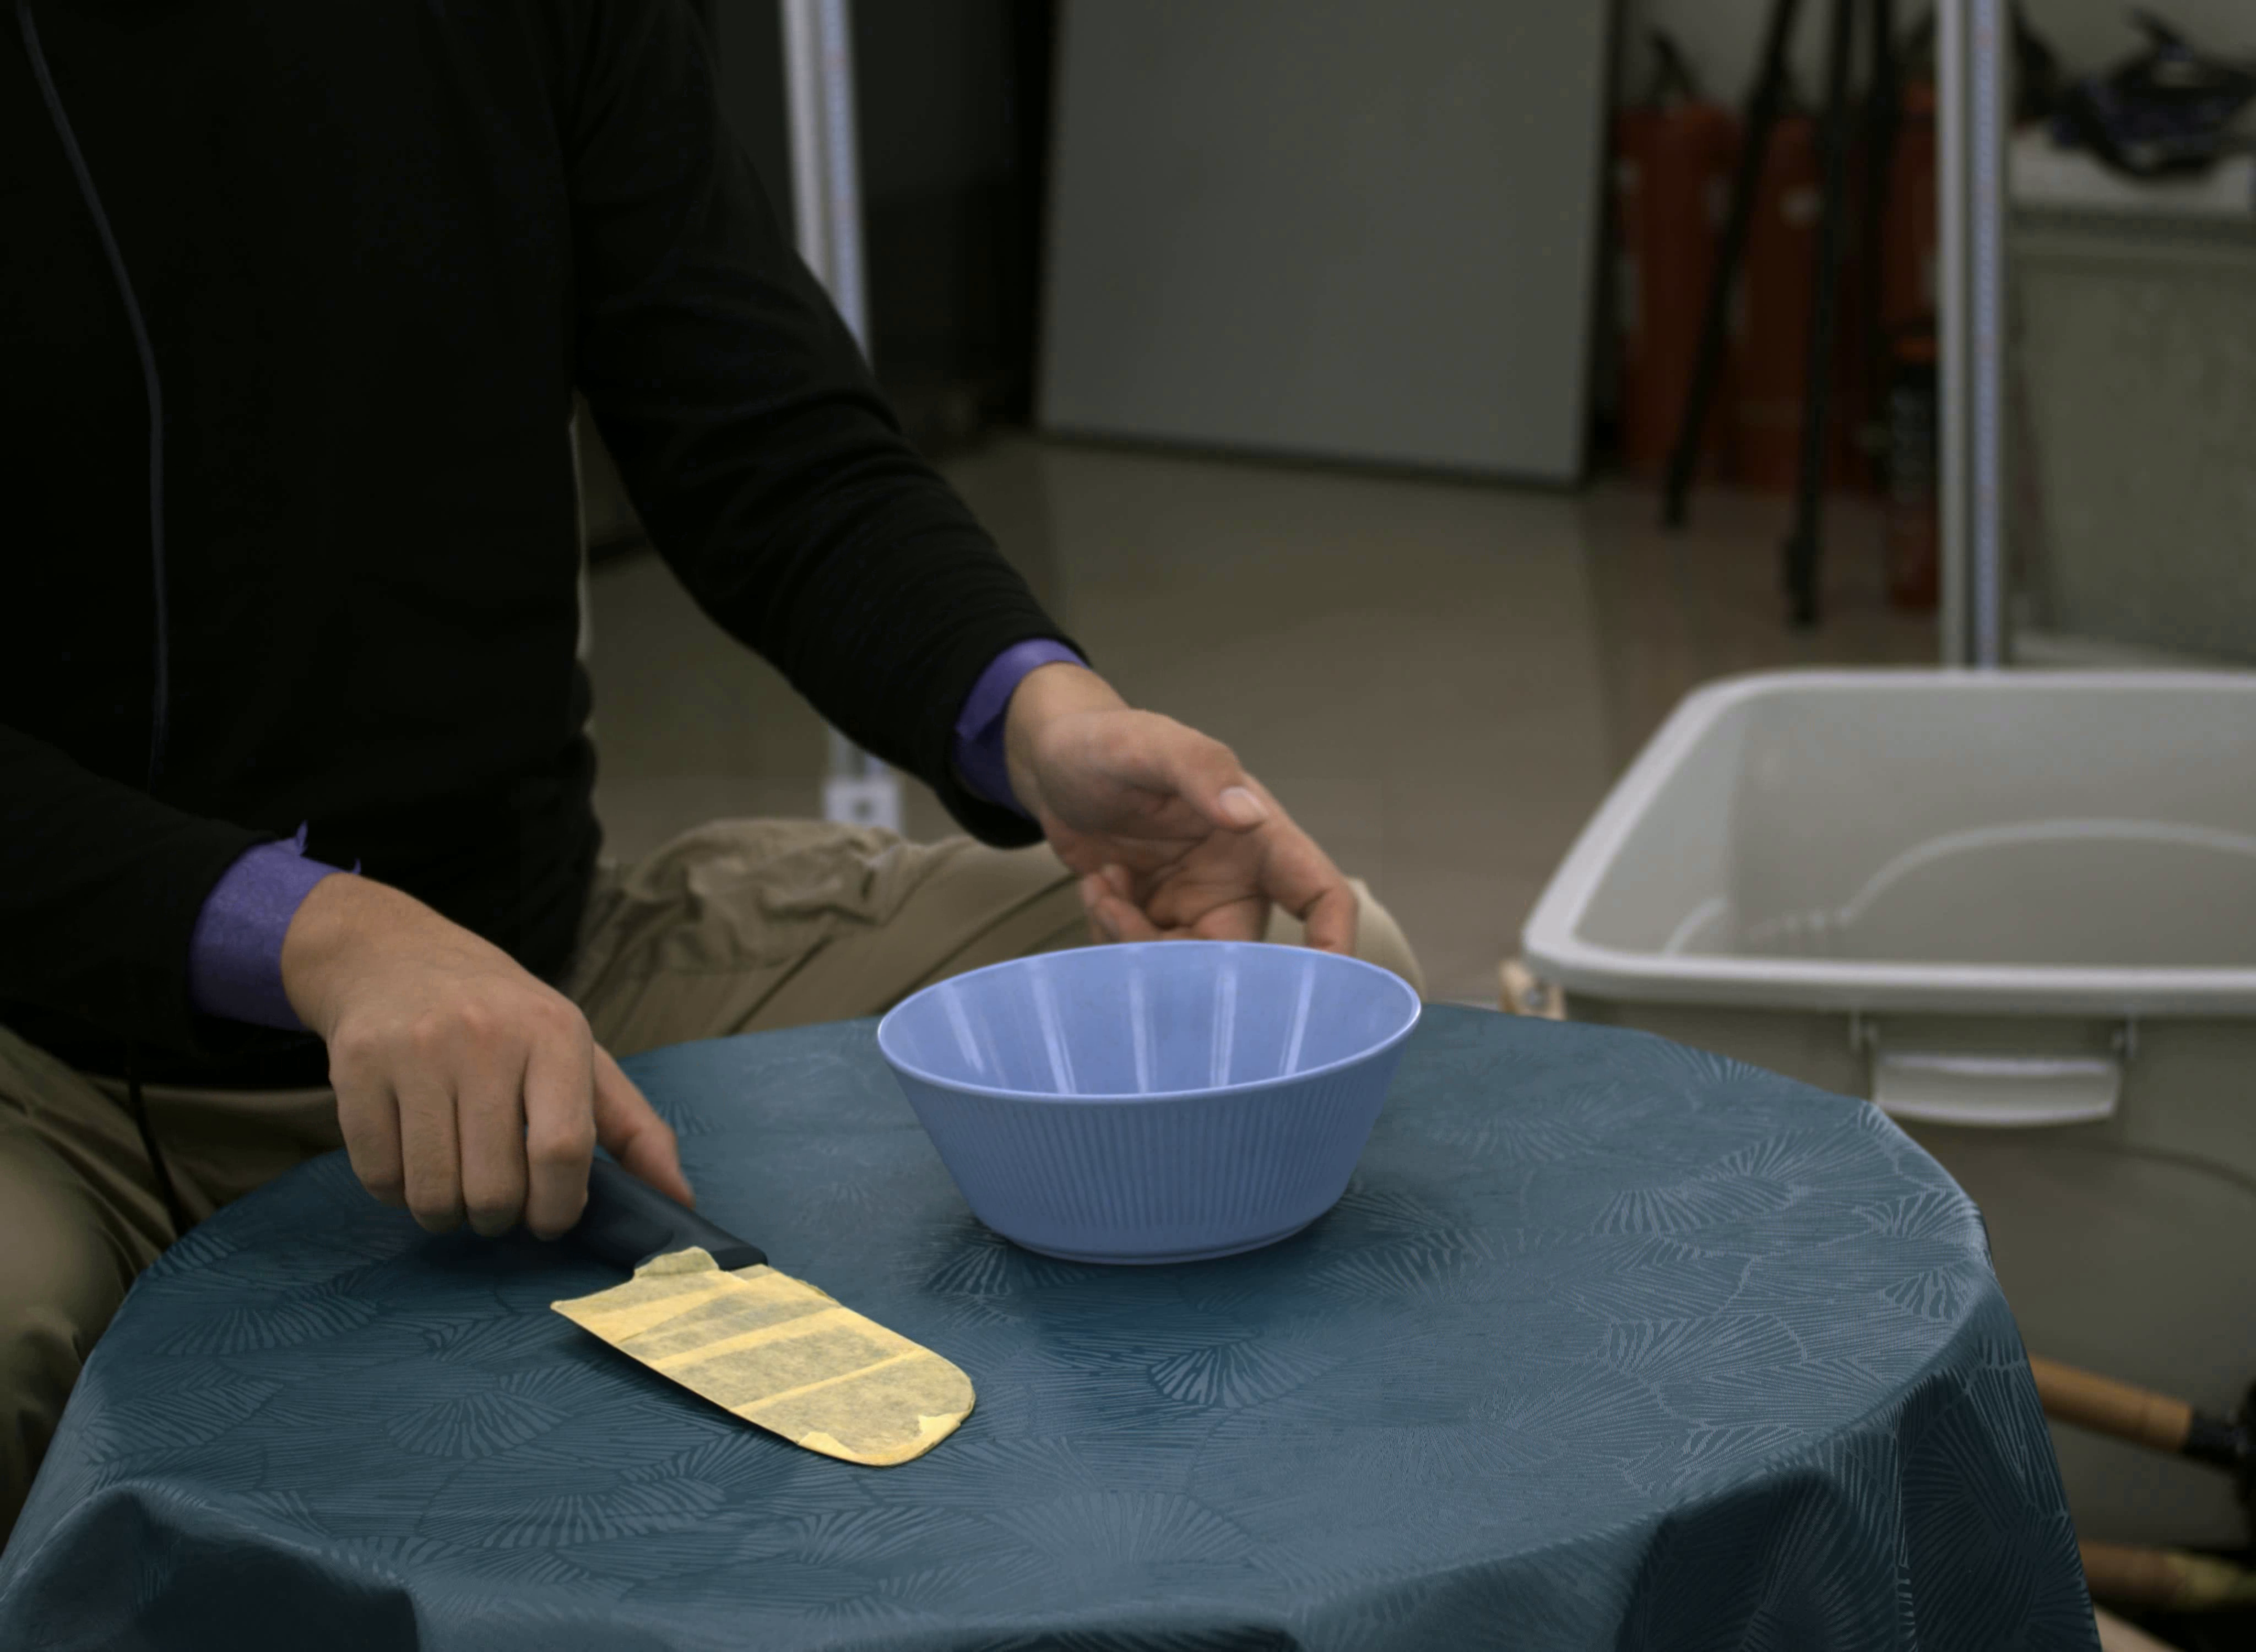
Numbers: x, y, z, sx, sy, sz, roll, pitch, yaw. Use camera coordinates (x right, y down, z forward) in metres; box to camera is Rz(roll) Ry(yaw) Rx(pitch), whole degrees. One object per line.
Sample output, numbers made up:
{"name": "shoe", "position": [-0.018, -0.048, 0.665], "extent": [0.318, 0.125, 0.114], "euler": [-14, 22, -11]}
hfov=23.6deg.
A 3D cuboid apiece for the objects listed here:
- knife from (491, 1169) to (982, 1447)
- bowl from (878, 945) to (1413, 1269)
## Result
{"name": "knife", "position": [-0.133, 0.150, 1.669], "extent": [0.079, 0.027, 0.292], "euler": [-10, 16, -31]}
{"name": "bowl", "position": [0.008, 0.093, 1.742], "extent": [0.174, 0.071, 0.176], "euler": [-5, 14, 0]}
